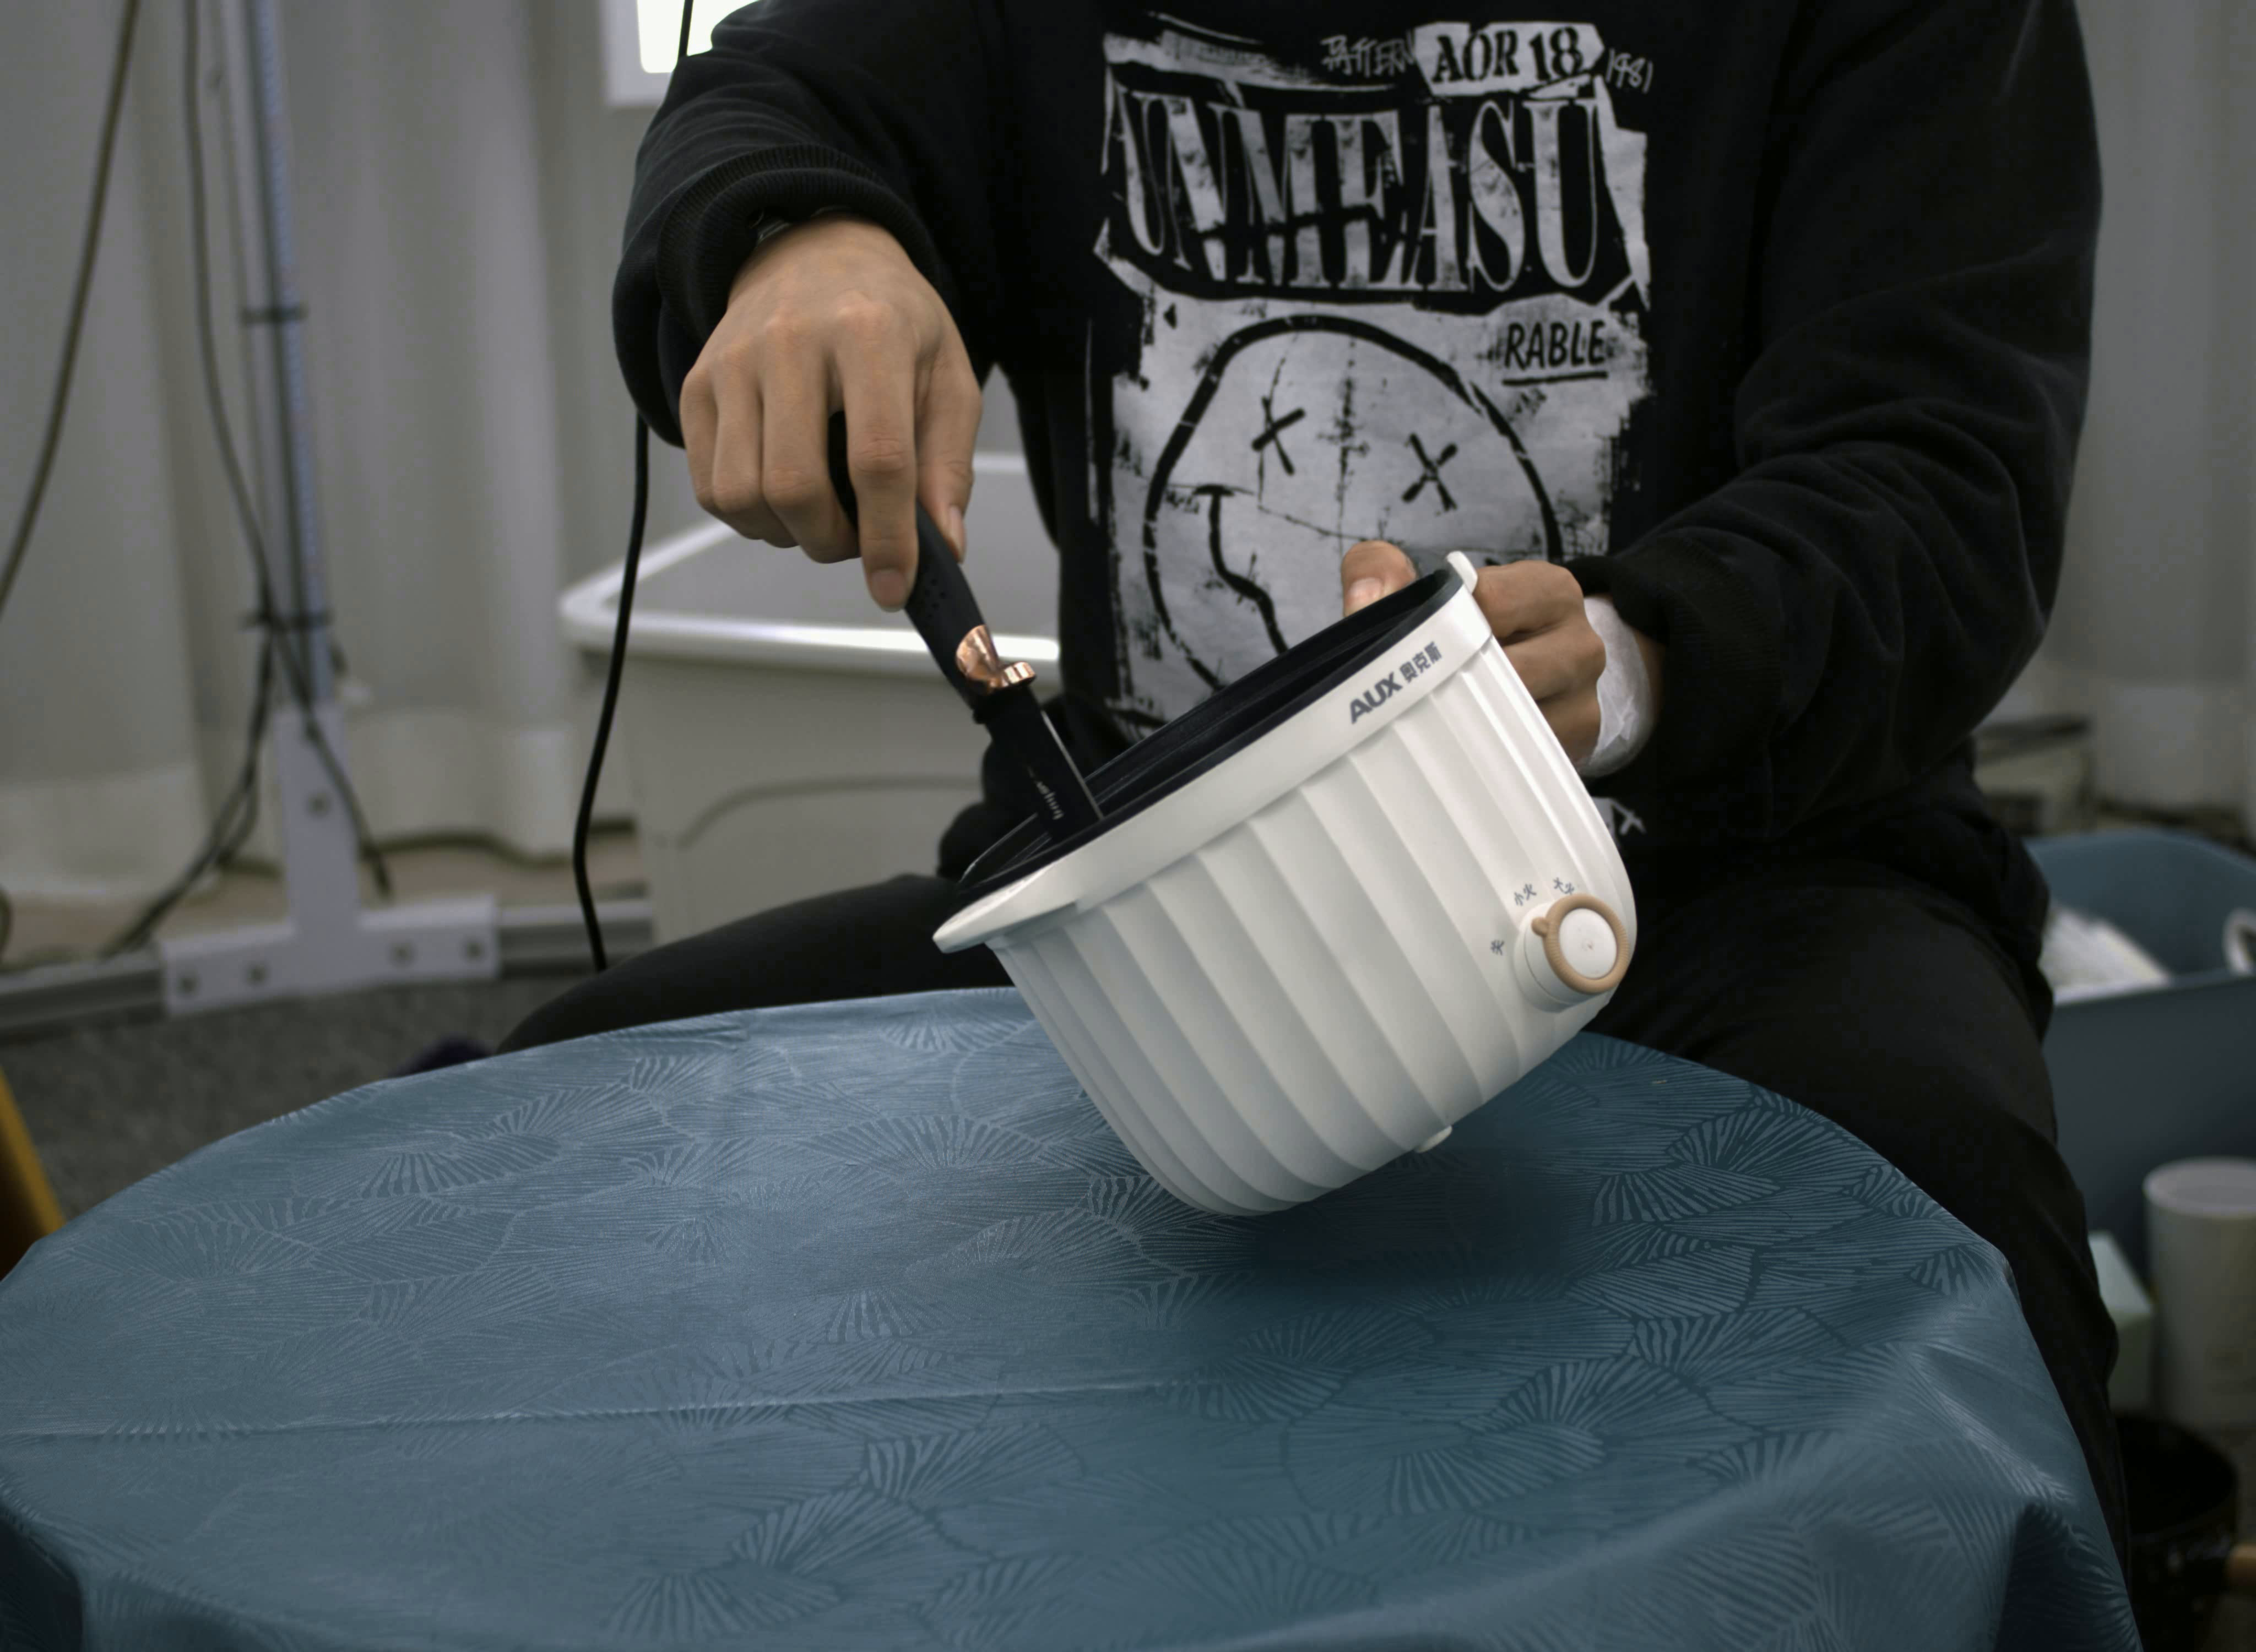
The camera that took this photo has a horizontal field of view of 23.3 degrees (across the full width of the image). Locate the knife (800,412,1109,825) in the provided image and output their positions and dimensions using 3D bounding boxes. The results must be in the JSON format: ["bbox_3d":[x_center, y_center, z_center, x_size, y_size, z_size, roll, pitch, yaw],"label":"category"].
[{"bbox_3d":[-0.035,-0.036,1.656,0.026,0.227,0.017,-35,-16,7],"label":"knife"}]

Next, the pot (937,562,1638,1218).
[{"bbox_3d":[0.062,0.025,1.653,0.241,0.142,0.189,-37,3,-38],"label":"pot"}]
